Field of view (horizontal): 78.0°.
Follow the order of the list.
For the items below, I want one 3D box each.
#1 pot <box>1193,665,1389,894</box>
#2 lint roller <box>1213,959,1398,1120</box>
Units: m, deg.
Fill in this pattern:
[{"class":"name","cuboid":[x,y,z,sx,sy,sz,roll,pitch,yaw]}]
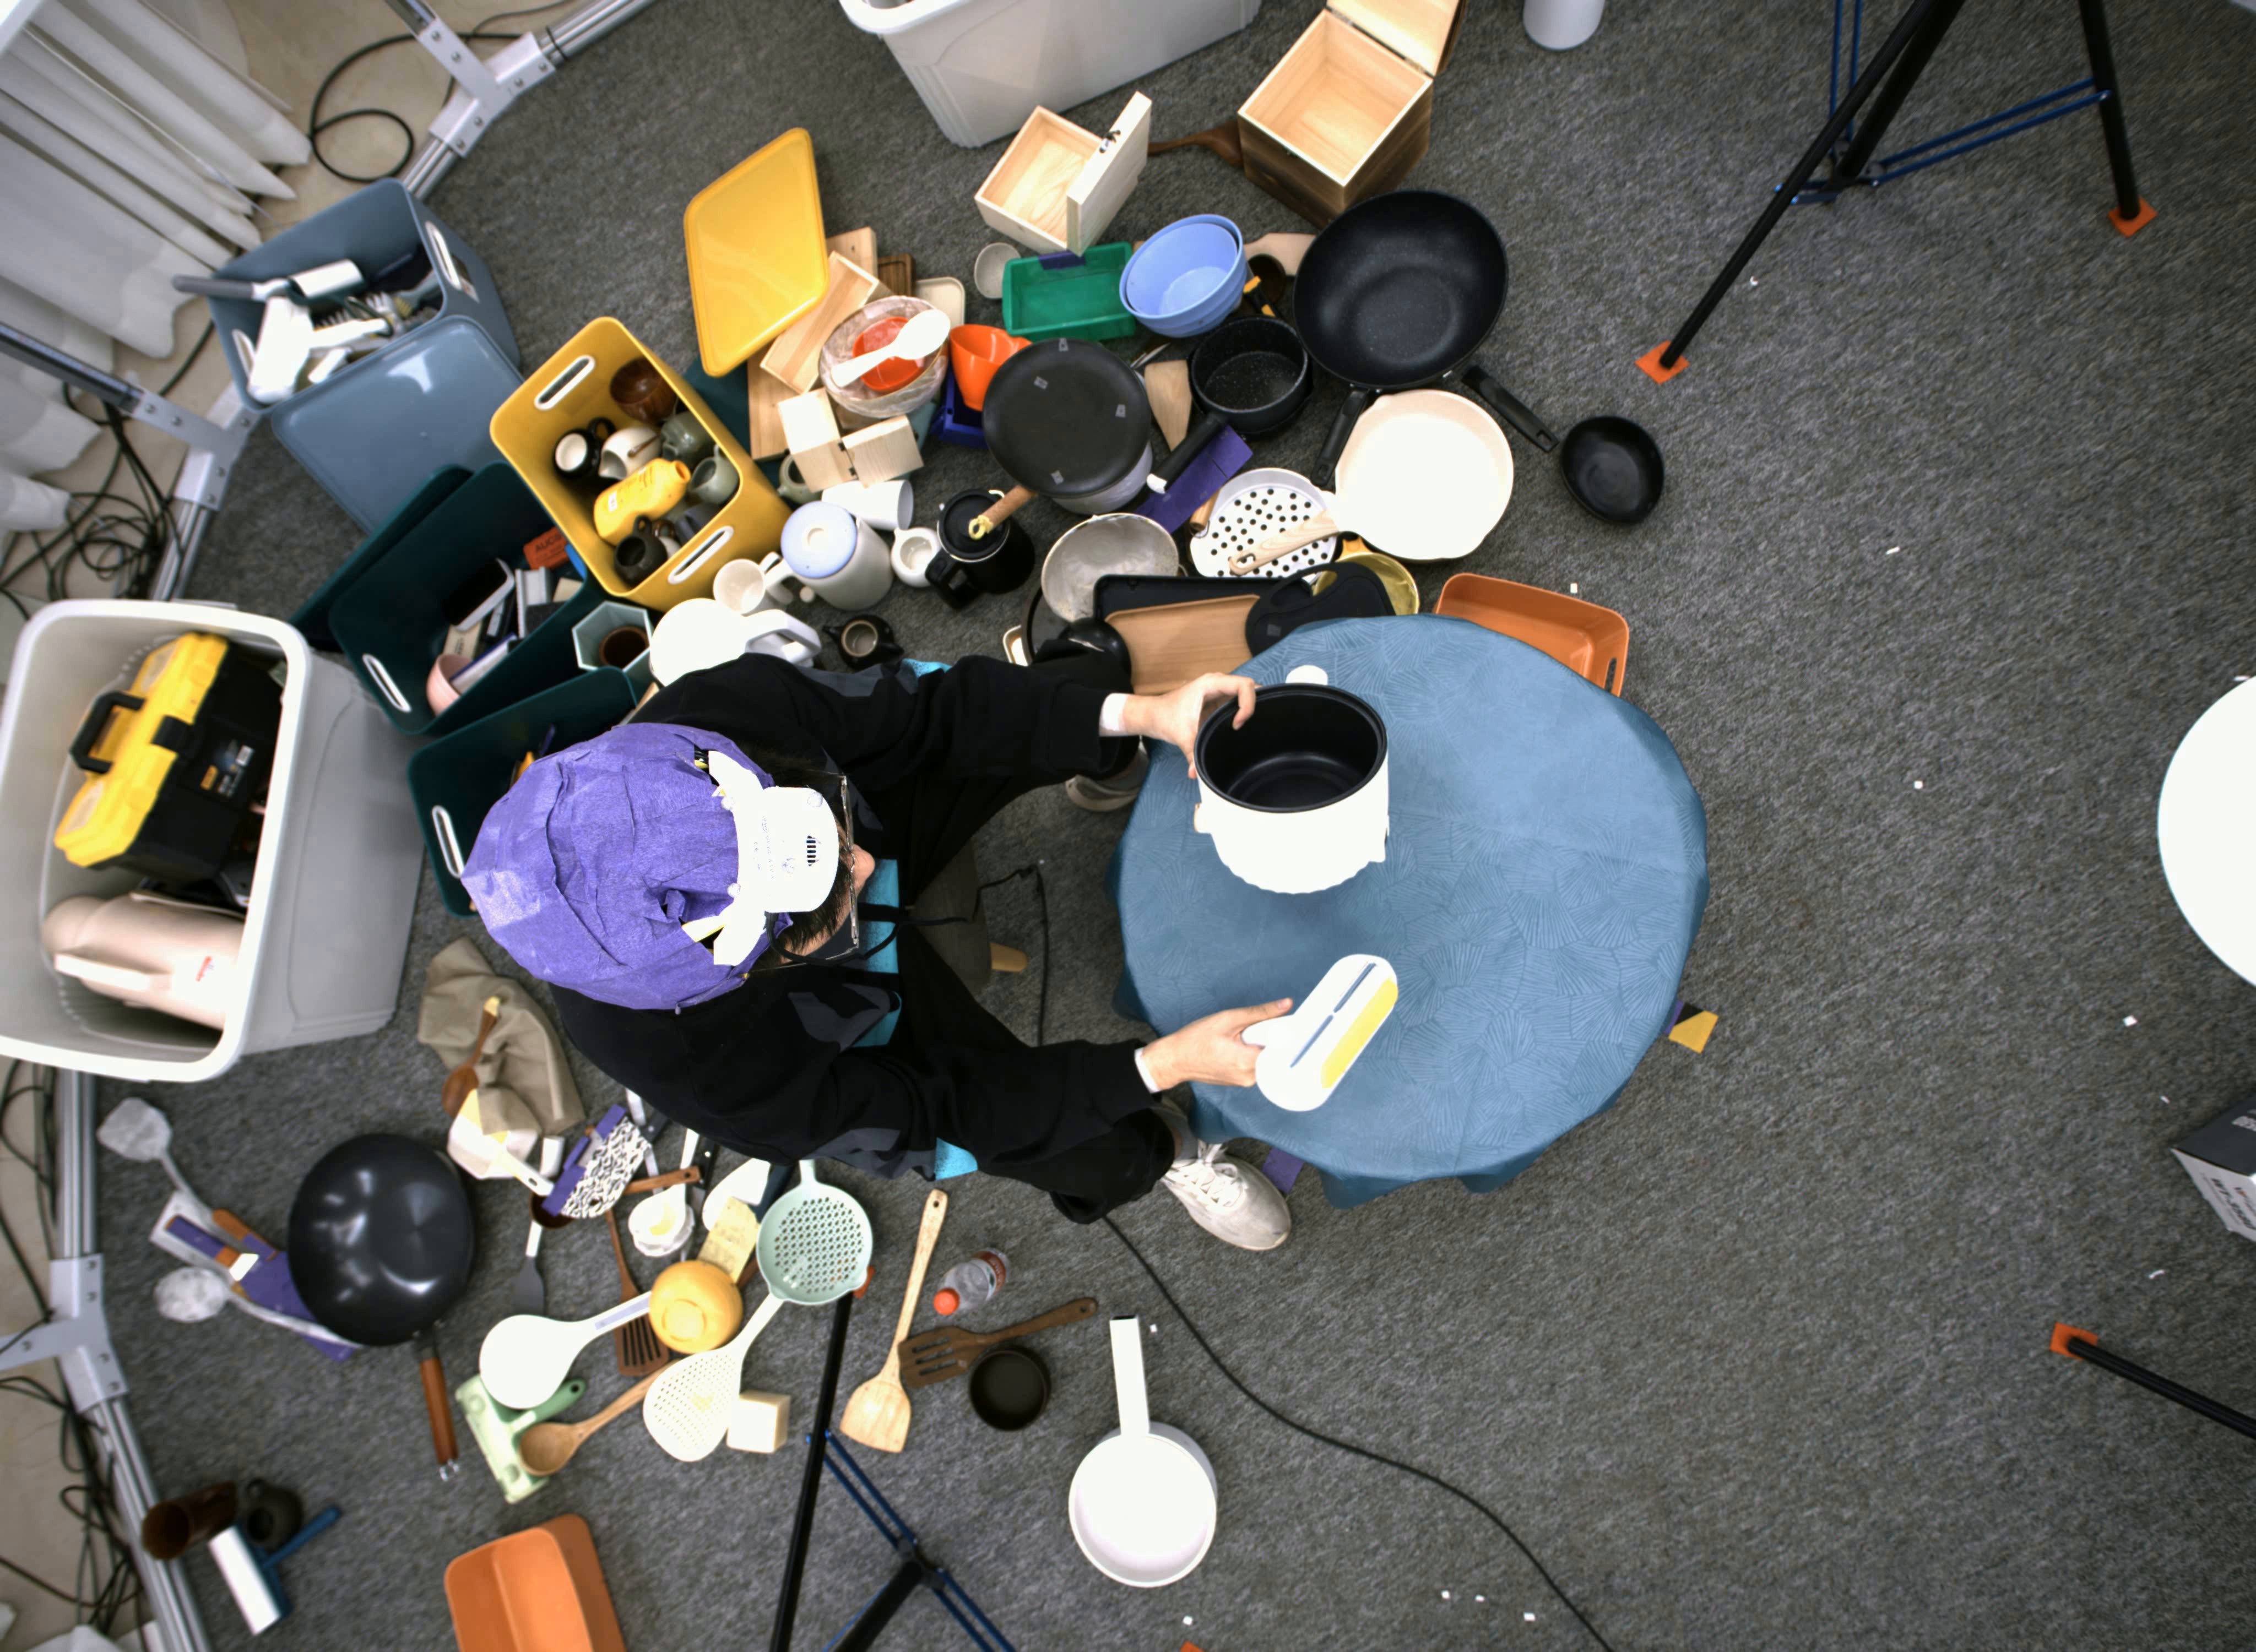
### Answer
[{"class":"pot","cuboid":[0.154,-0.030,1.327,0.191,0.146,0.234,5,47,14]},{"class":"lint roller","cuboid":[0.151,0.203,1.350,0.188,0.194,0.075,-48,121,-32]}]
